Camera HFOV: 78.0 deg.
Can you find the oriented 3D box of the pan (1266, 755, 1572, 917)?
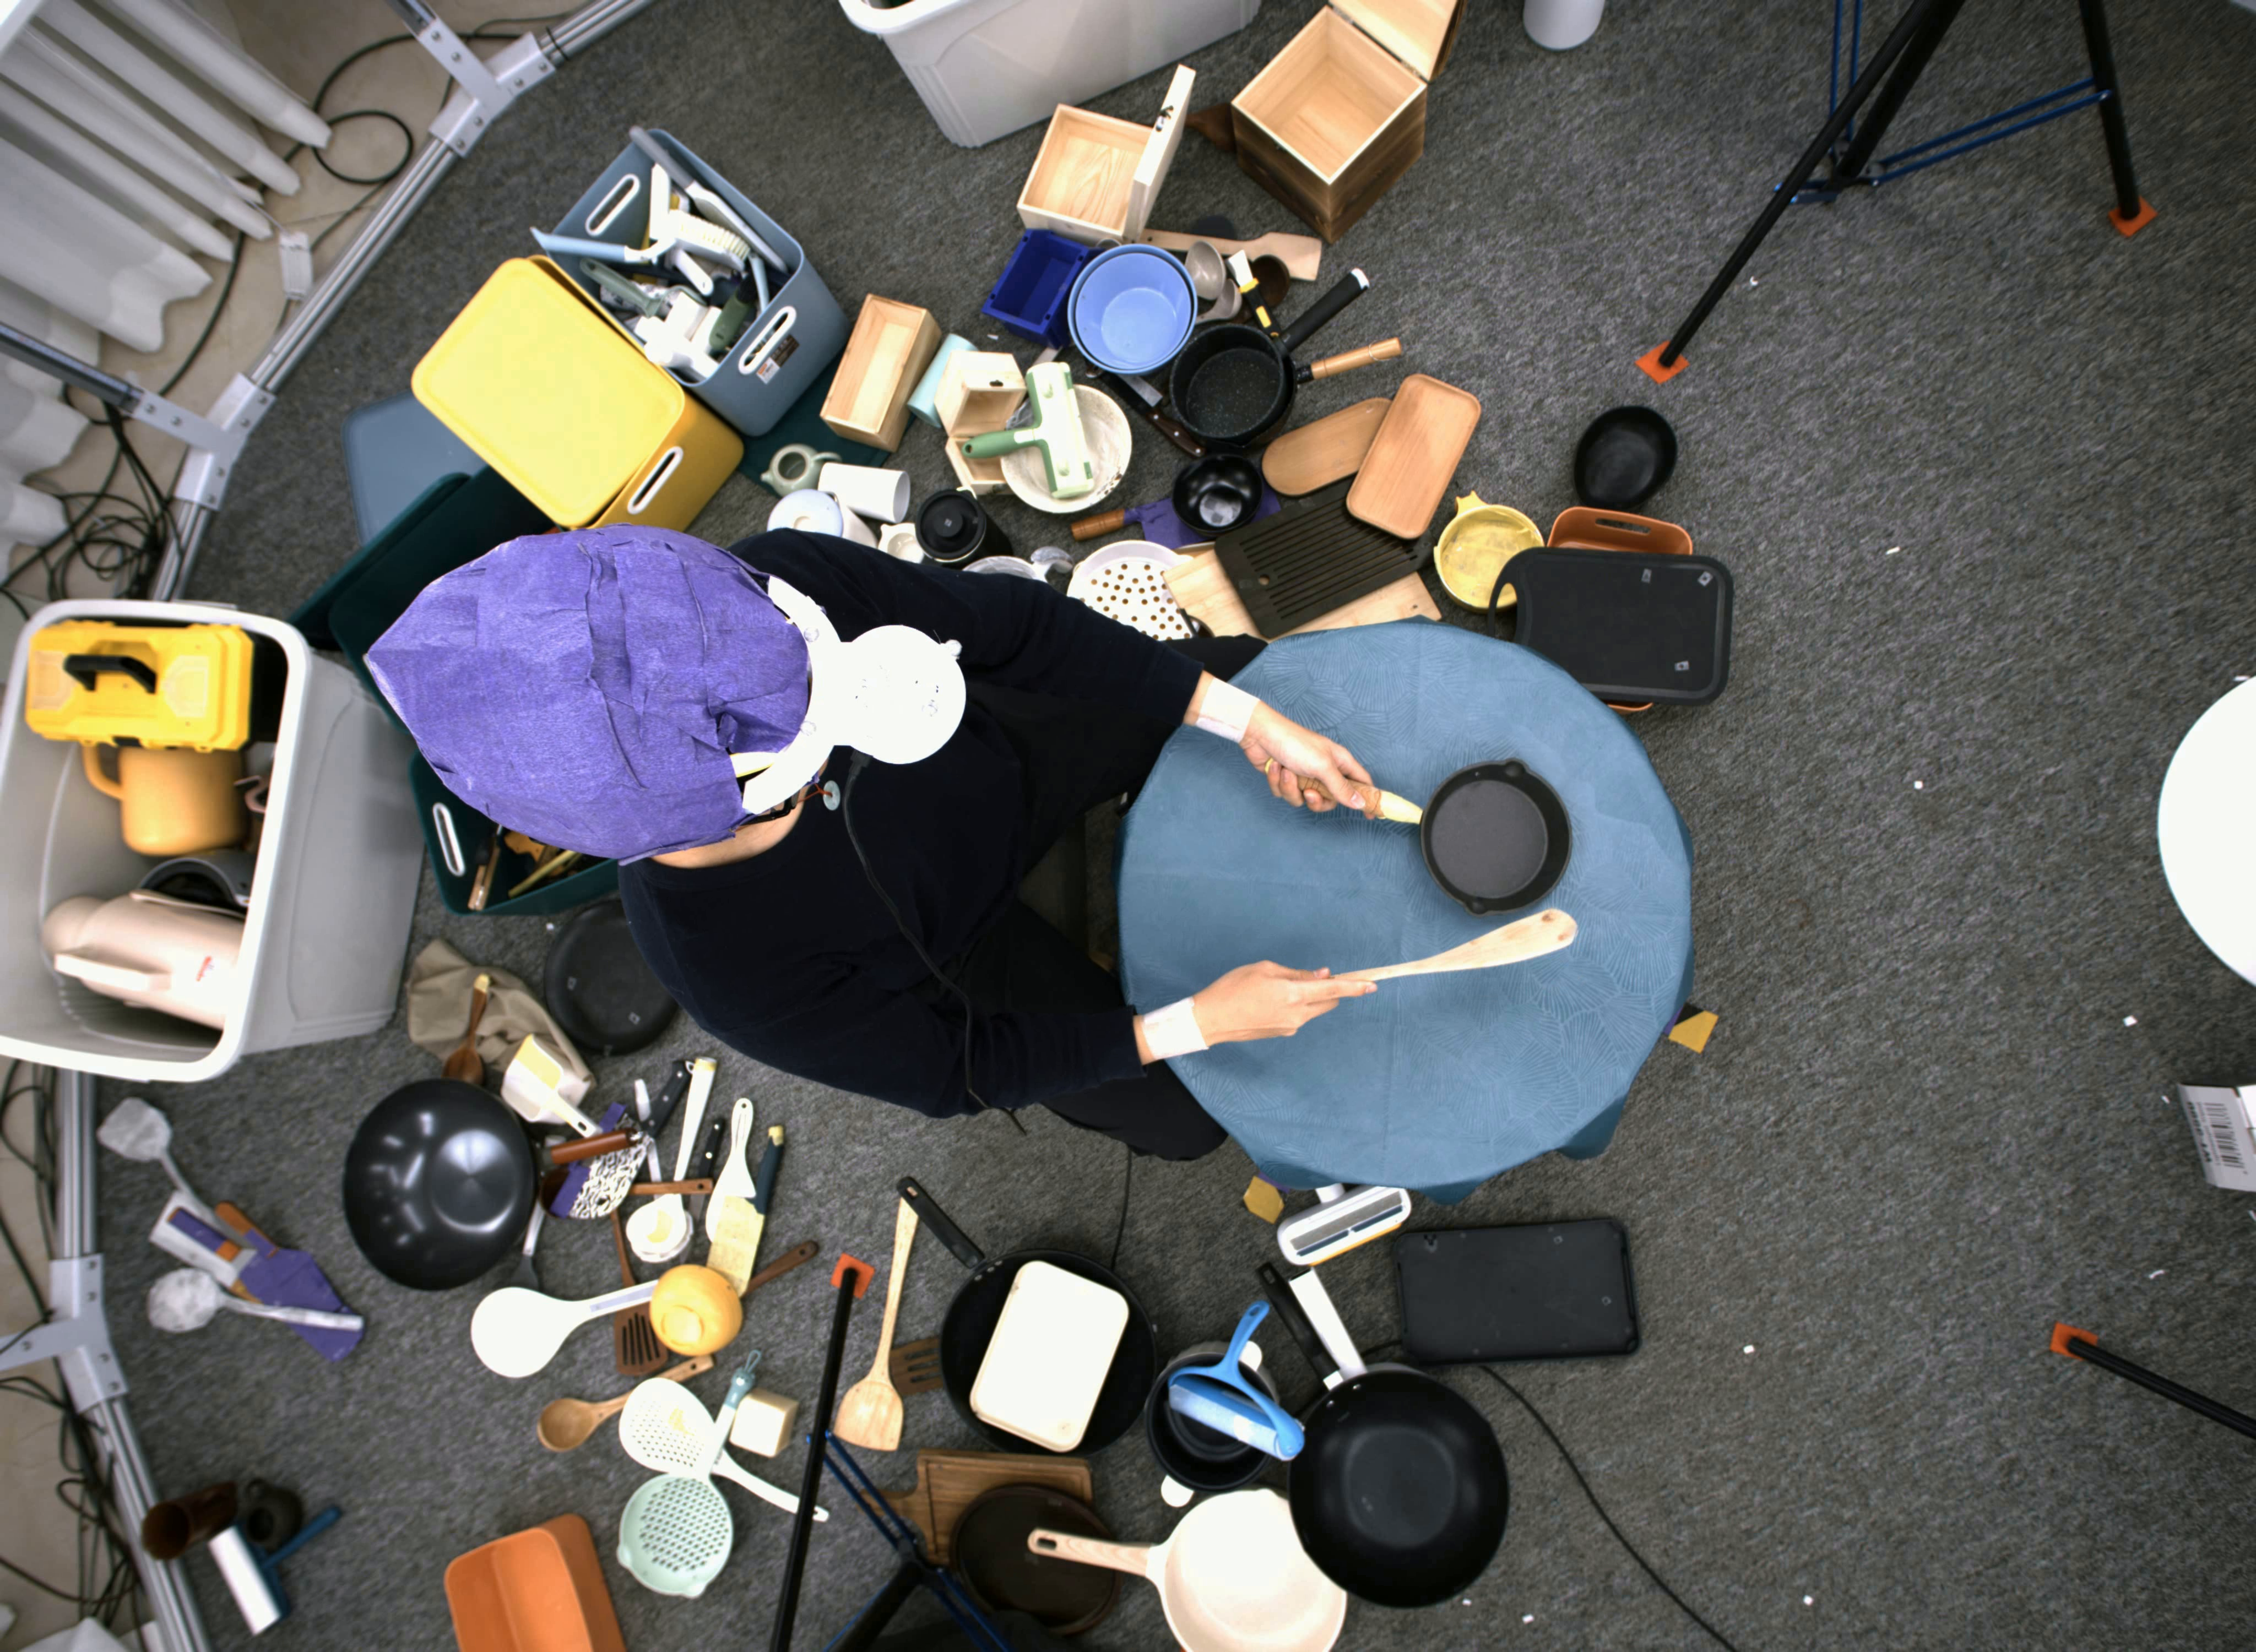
[{"bbox_3d":[0.295,-0.016,1.409,0.324,0.049,0.168,18,88,-1],"label":"pan"}]

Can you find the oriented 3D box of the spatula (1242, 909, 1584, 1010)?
[{"bbox_3d":[0.264,0.130,1.313,0.330,0.078,0.017,-14,109,15],"label":"spatula"}]
